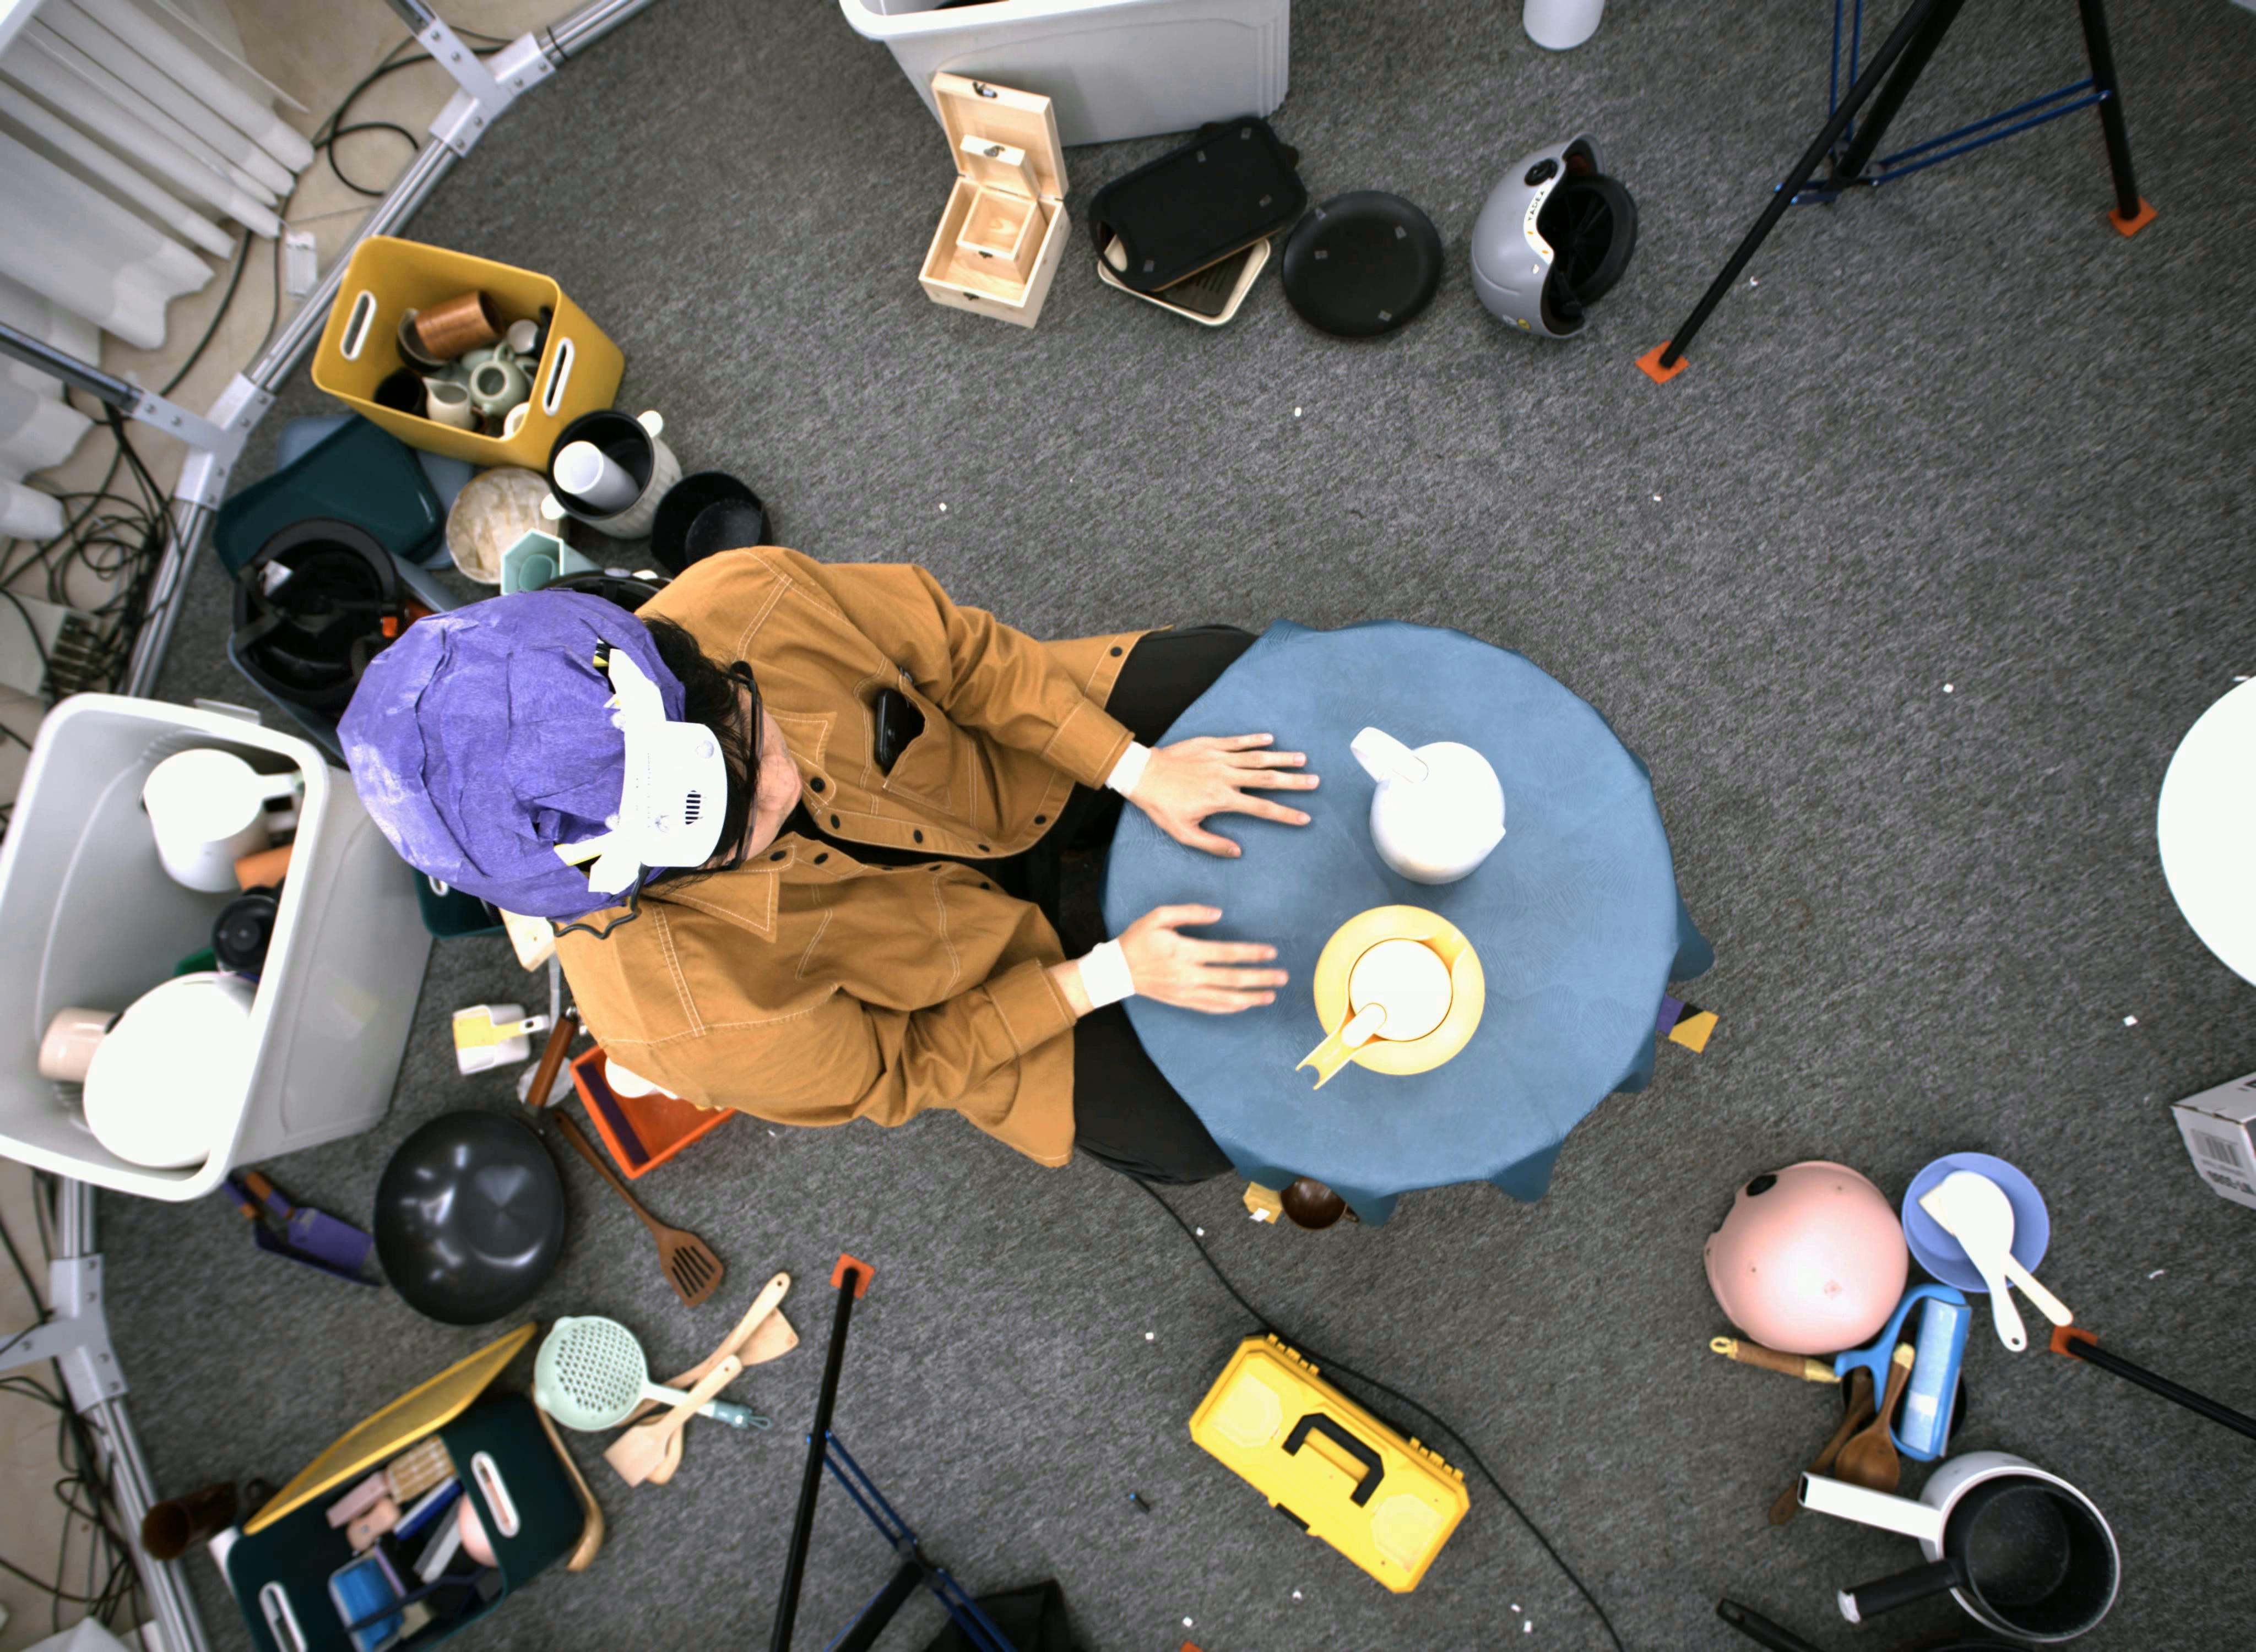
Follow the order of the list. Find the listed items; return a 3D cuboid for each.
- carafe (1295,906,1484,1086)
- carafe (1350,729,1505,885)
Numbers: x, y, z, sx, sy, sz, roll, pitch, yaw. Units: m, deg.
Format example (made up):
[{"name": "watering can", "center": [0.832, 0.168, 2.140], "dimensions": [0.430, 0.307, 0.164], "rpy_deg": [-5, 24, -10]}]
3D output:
[{"name": "carafe", "center": [0.244, 0.168, 1.330], "dimensions": [0.203, 0.261, 0.162], "rpy_deg": [-42, 77, 3]}, {"name": "carafe", "center": [0.286, -0.029, 1.337], "dimensions": [0.167, 0.249, 0.133], "rpy_deg": [40, 93, 12]}]
